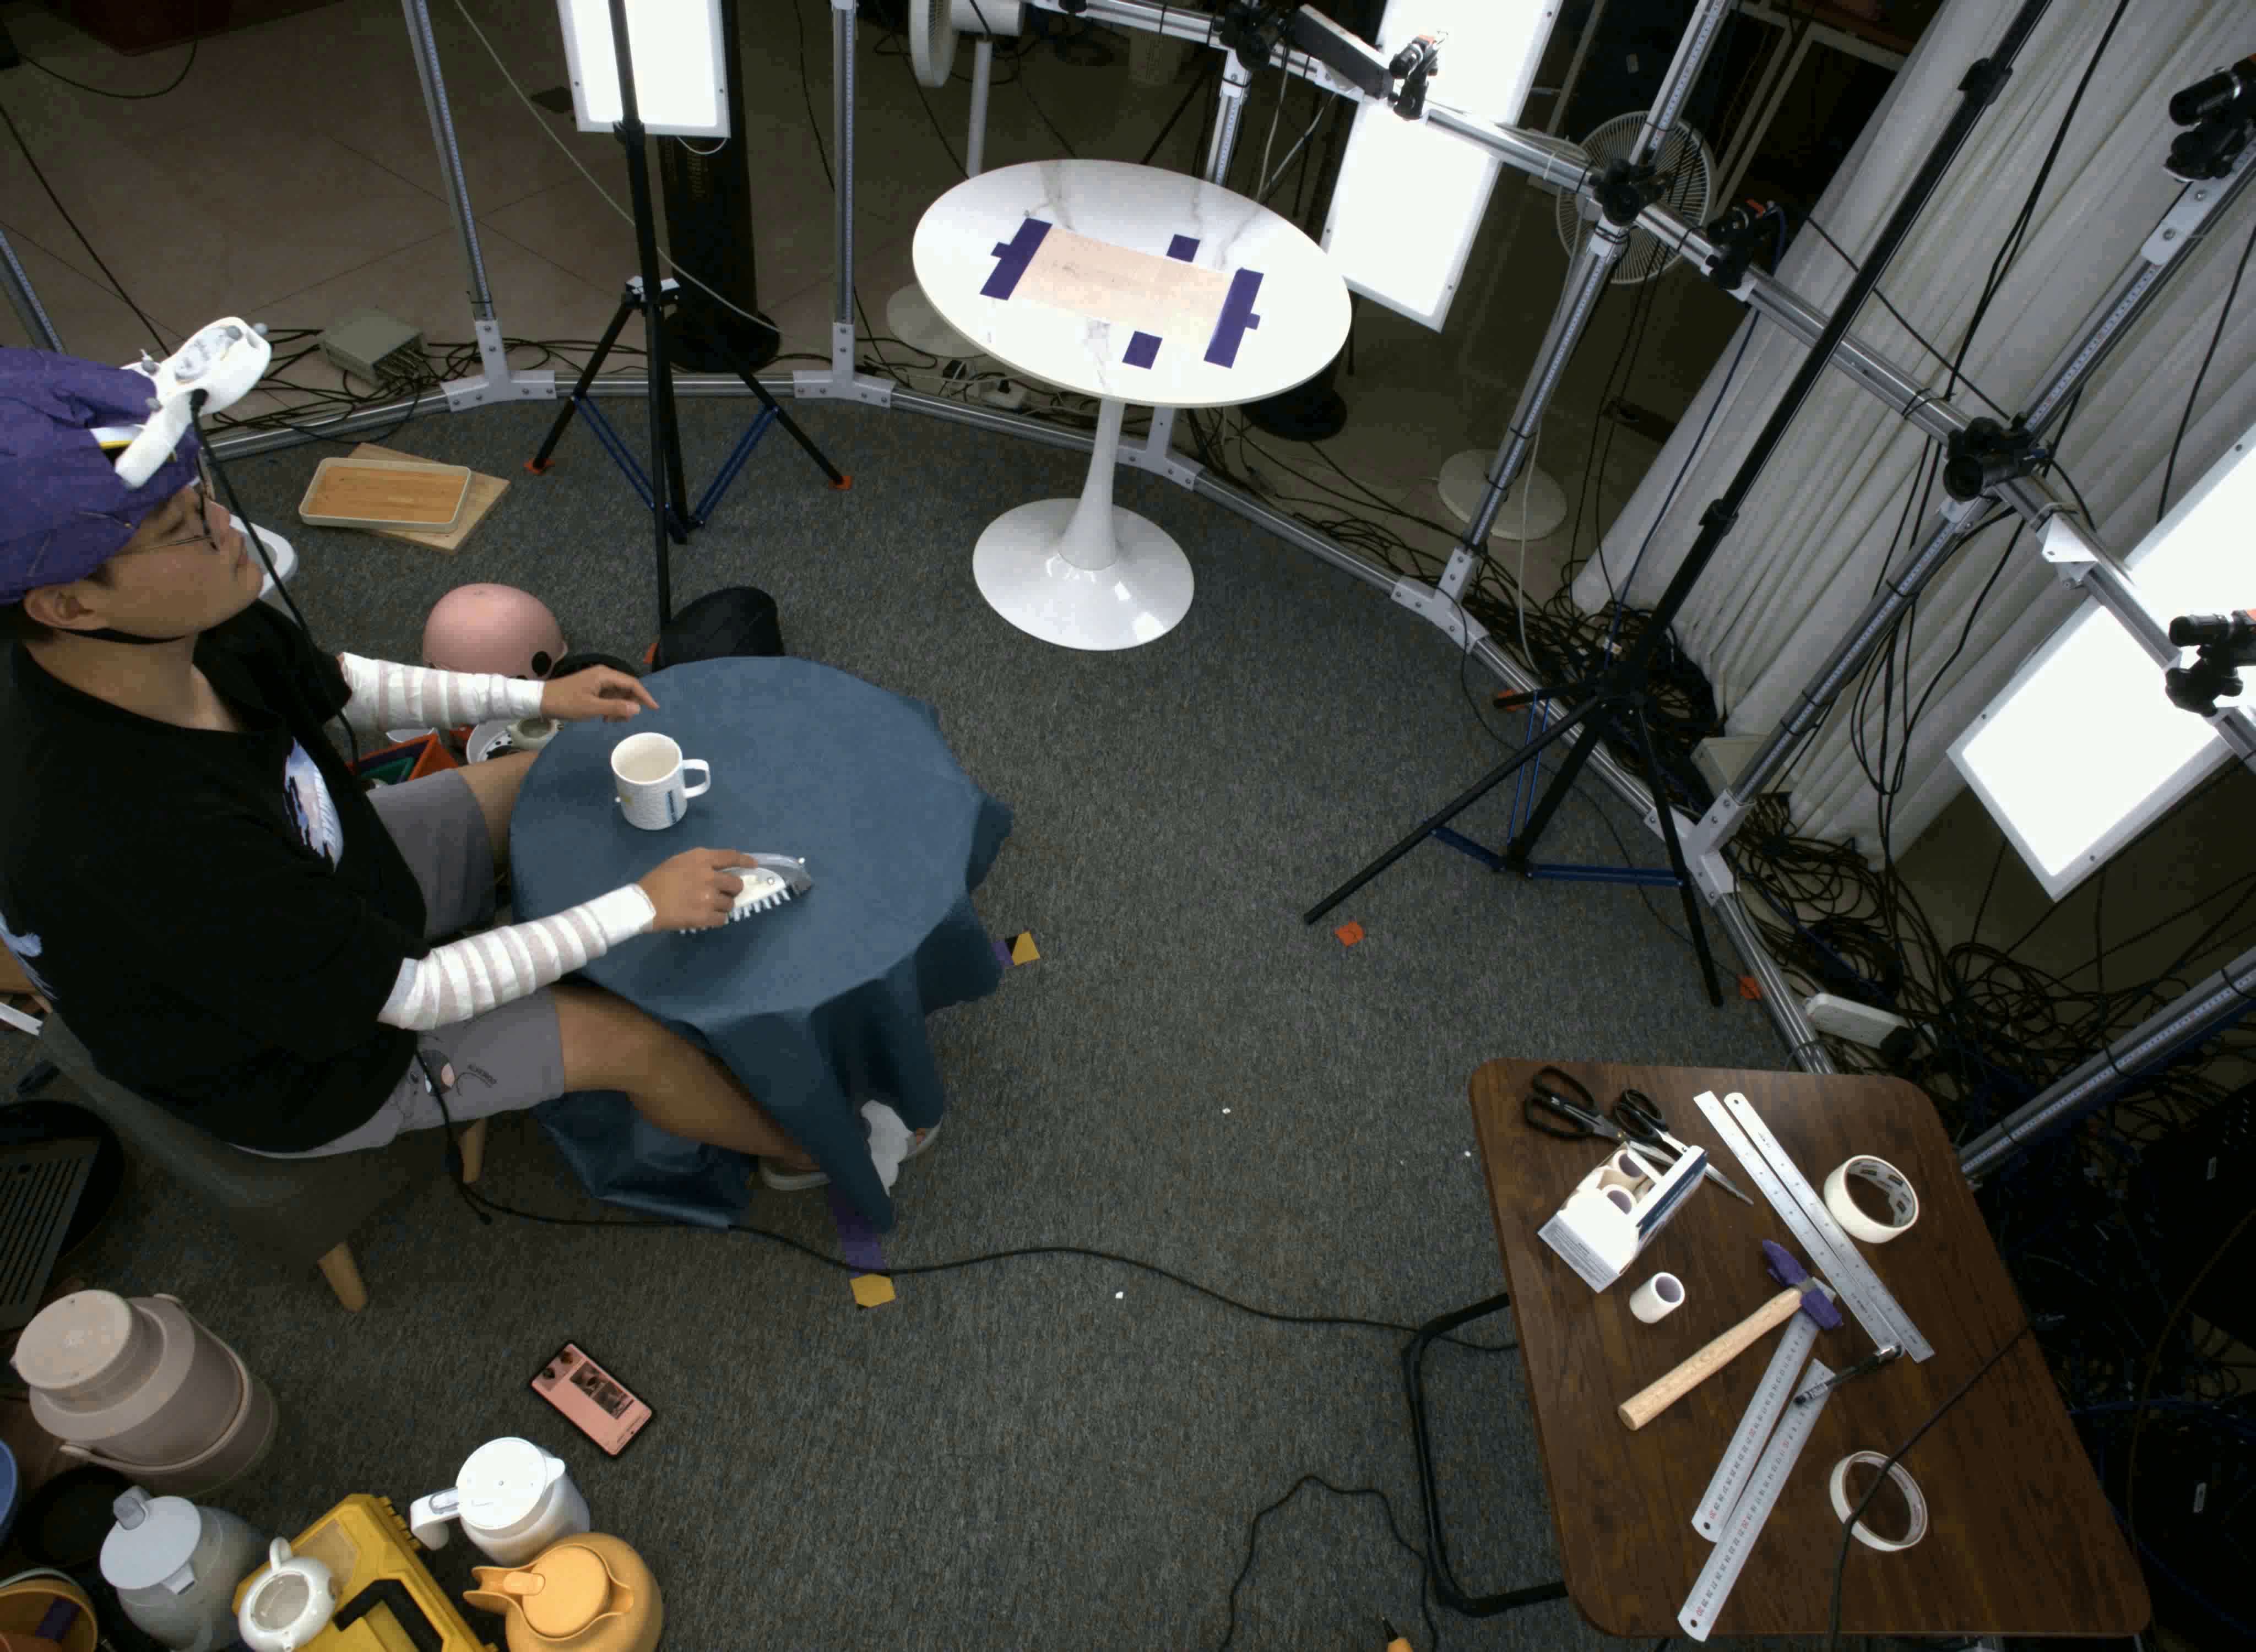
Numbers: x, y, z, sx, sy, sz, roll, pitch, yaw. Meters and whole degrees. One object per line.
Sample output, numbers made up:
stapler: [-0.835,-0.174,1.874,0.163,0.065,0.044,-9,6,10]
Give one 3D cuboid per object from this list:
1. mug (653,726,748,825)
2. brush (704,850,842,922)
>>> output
mug: [-0.556,-0.067,1.684,0.118,0.104,0.083,-4,54,-16]
brush: [-0.445,0.059,1.627,0.176,0.096,0.060,-11,58,-22]
